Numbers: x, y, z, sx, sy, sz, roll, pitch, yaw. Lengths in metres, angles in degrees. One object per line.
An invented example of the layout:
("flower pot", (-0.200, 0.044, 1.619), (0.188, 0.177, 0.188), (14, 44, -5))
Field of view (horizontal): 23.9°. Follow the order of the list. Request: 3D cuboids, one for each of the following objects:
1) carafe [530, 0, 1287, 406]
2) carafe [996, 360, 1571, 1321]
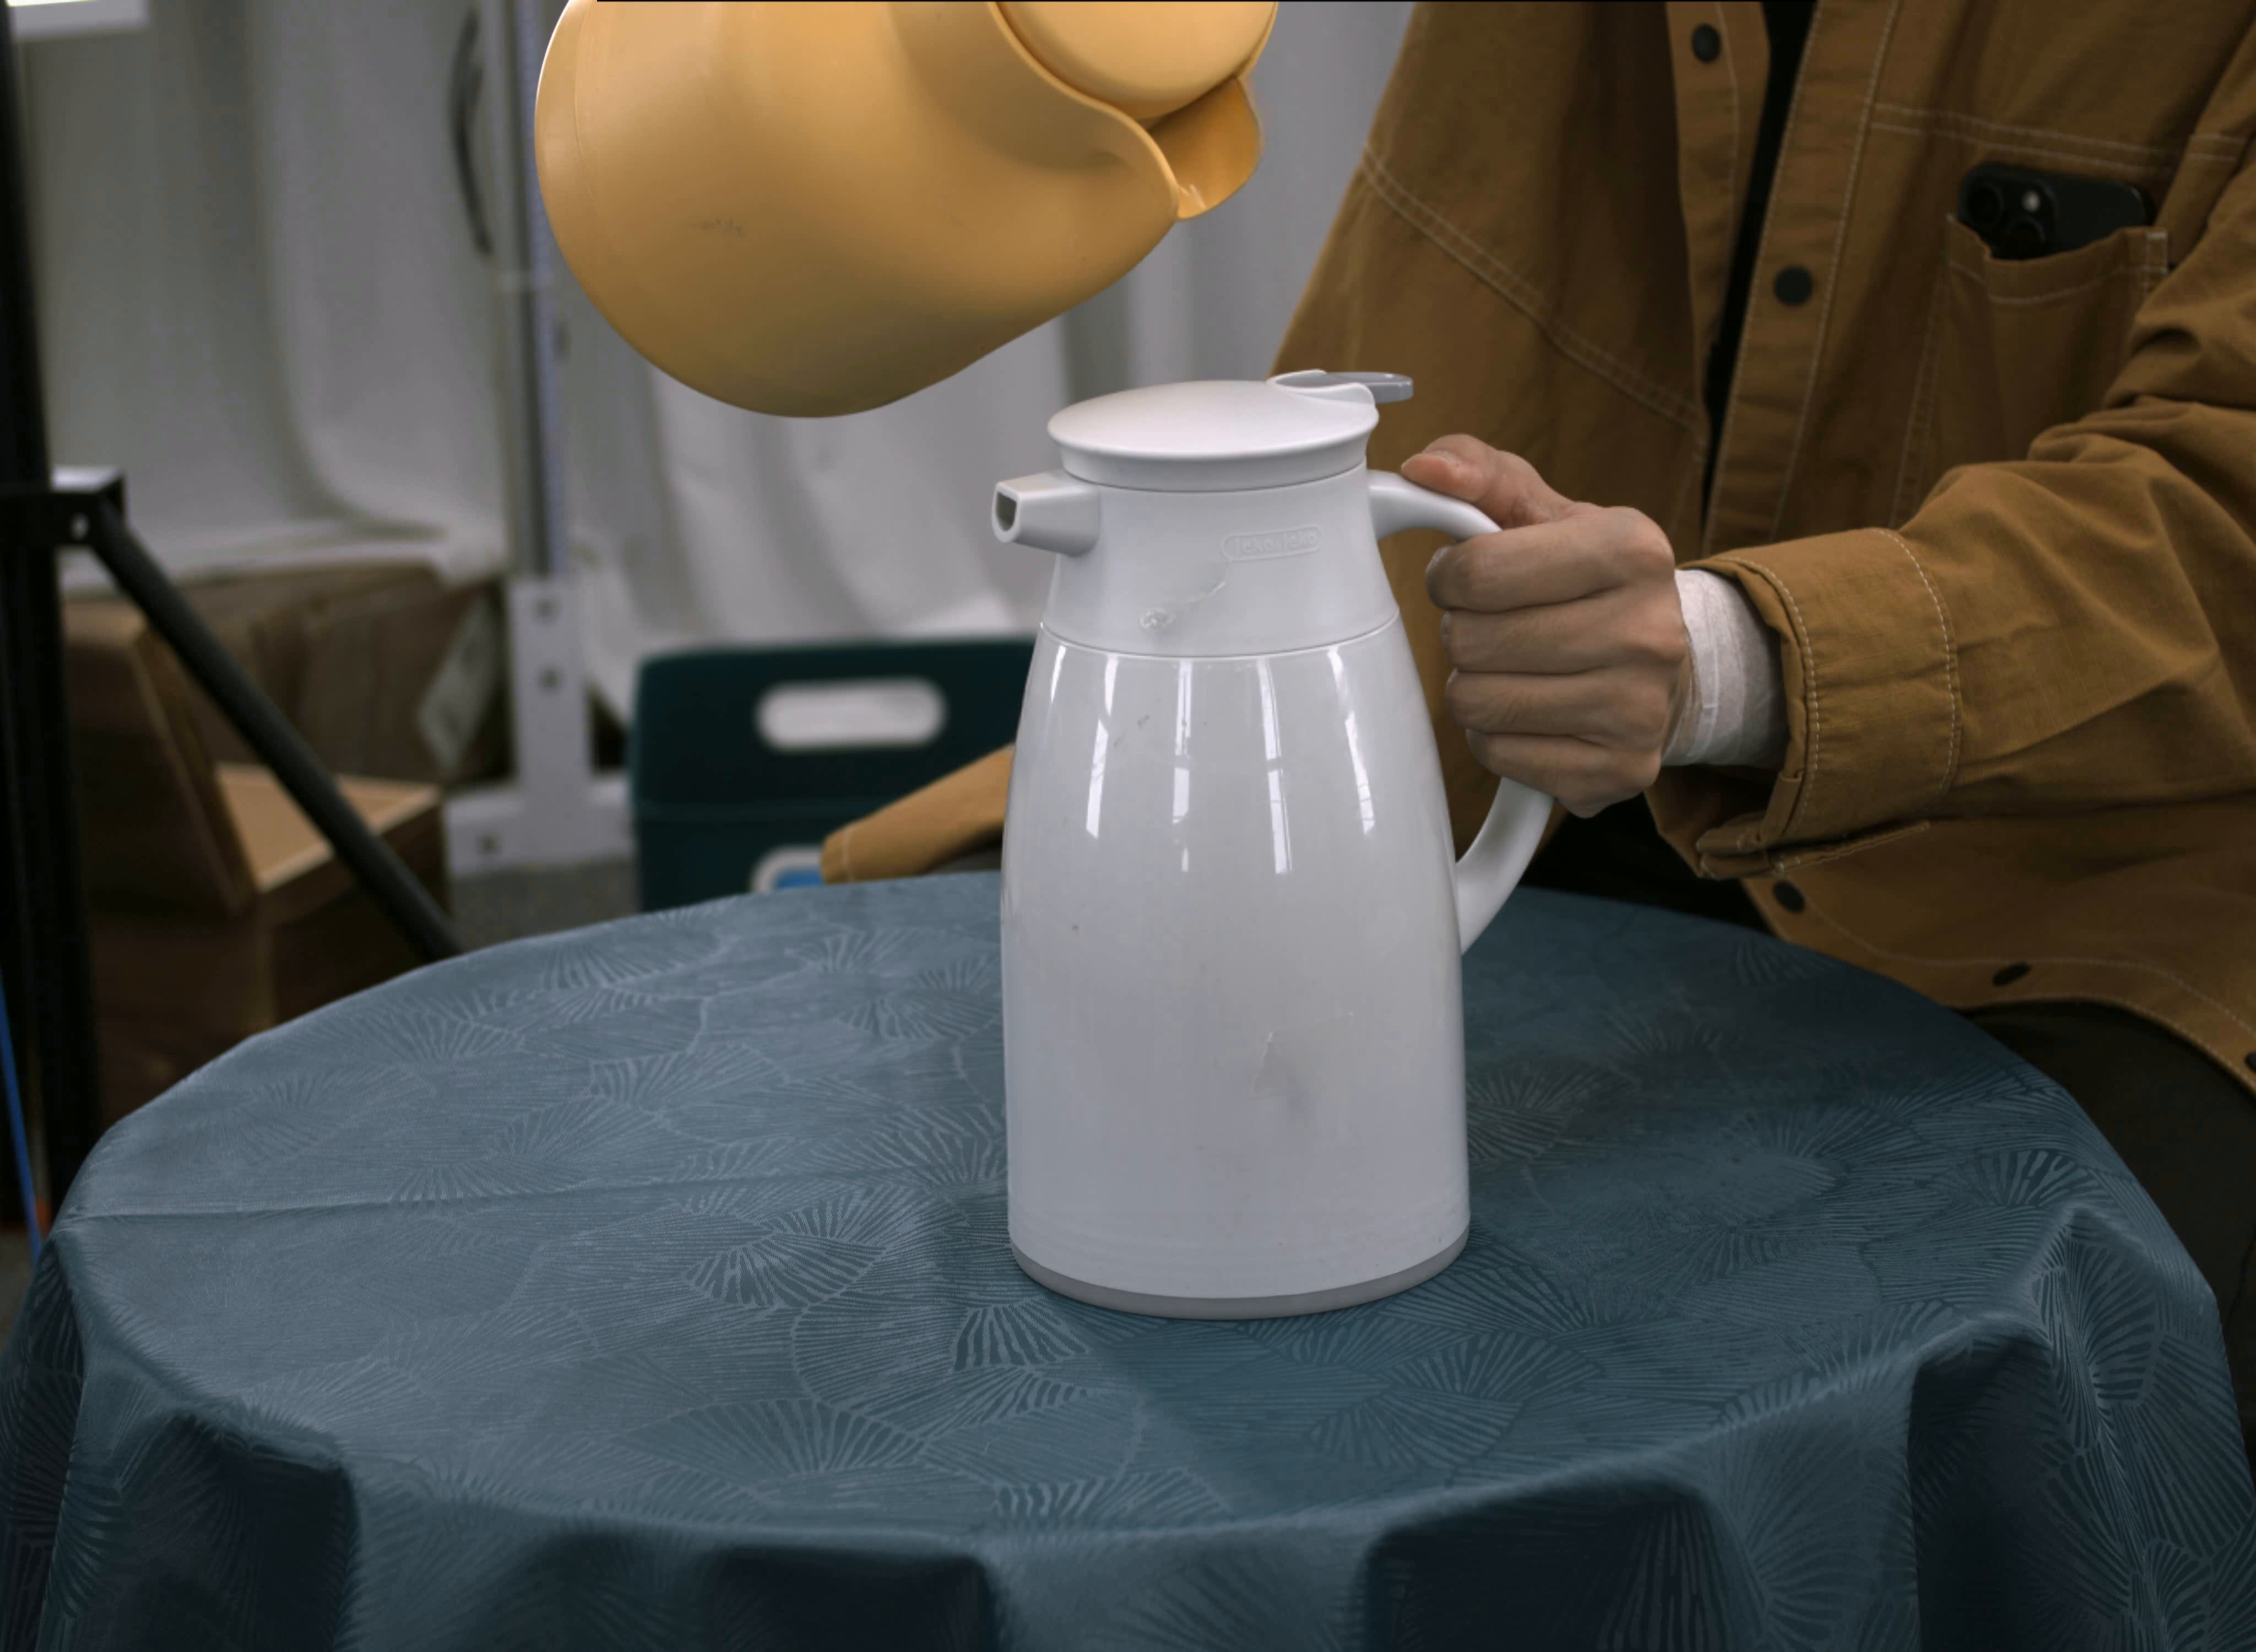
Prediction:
("carafe", (-0.060, -0.240, 1.533), (0.160, 0.203, 0.265), (-19, 1, -33))
("carafe", (0.045, -0.004, 1.488), (0.164, 0.248, 0.135), (-7, 16, -20))
